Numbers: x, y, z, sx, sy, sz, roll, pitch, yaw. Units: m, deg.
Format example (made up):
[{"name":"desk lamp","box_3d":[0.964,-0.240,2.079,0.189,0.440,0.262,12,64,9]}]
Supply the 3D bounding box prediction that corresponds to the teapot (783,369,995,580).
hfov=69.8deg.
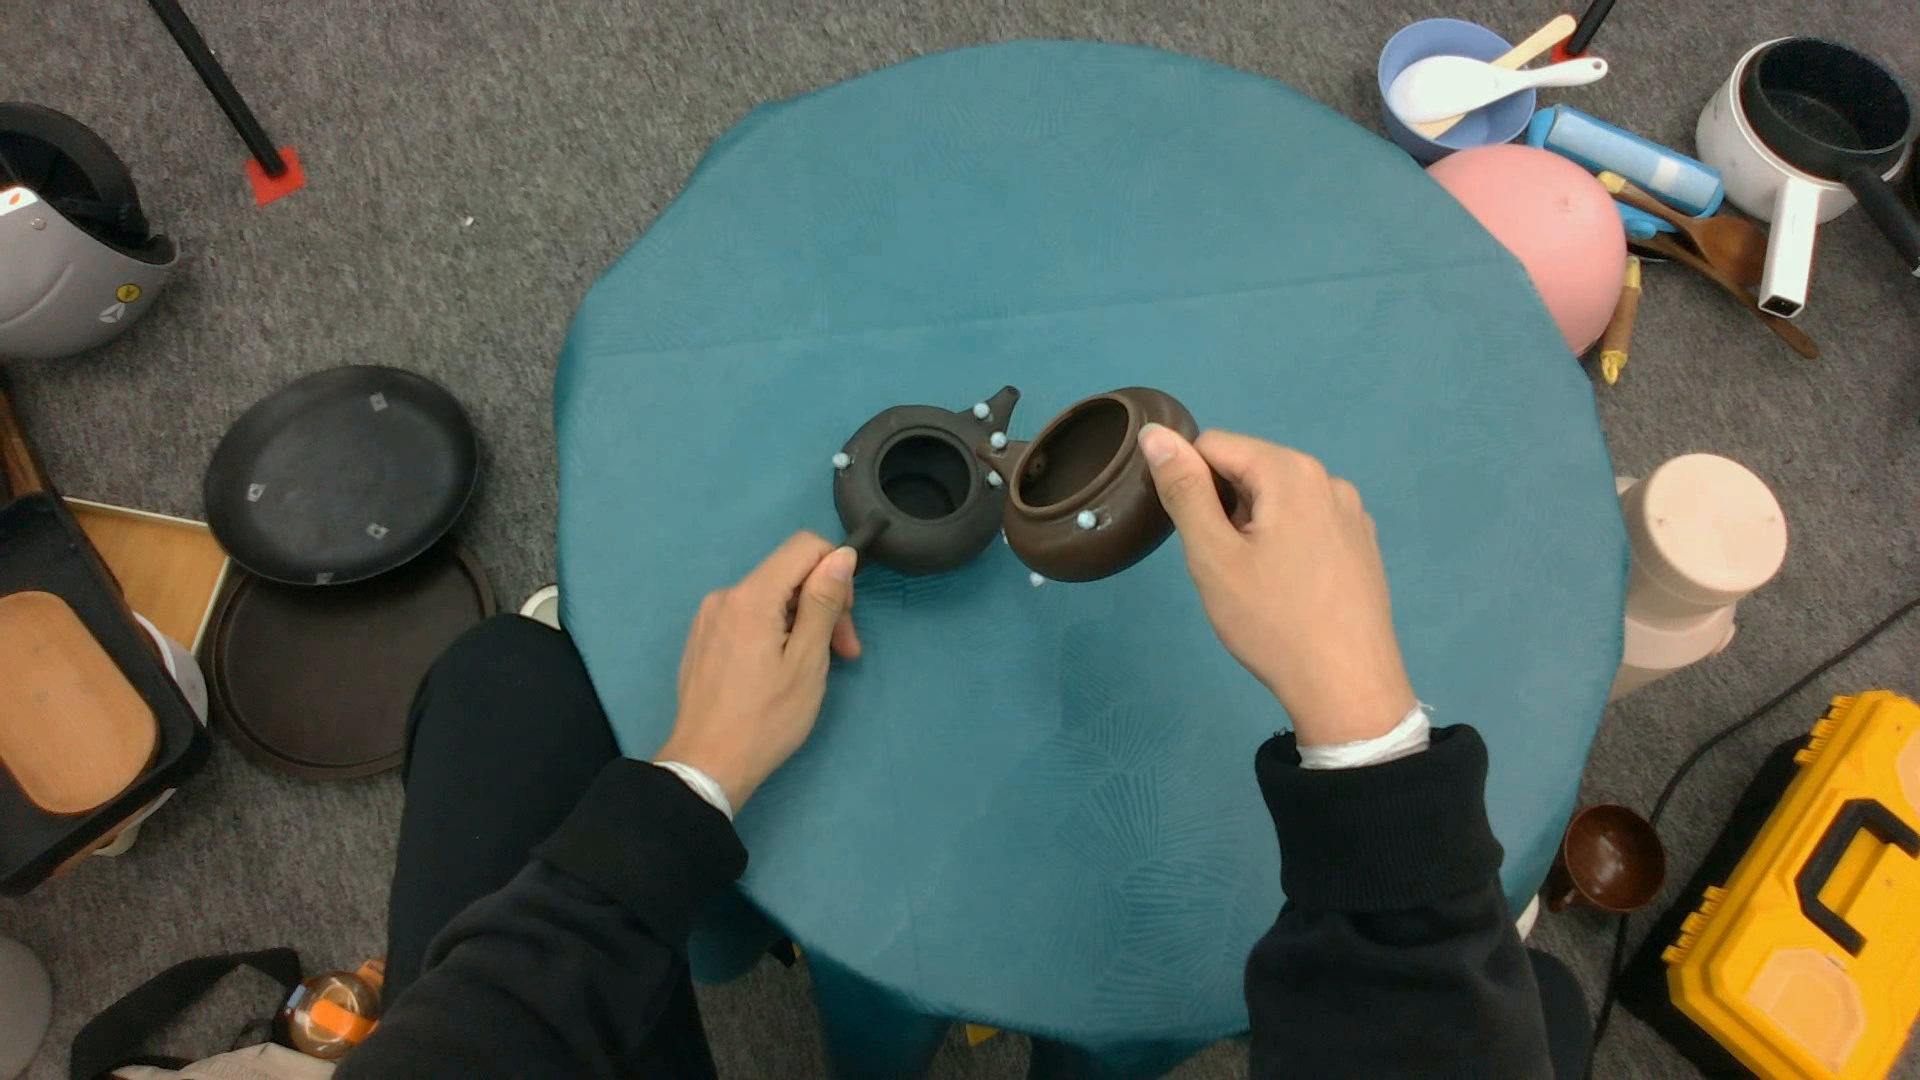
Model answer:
[{"name":"teapot","box_3d":[-0.036,-0.032,0.721,0.092,0.064,0.155,42,68,9]}]

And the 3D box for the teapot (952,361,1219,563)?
[{"name":"teapot","box_3d":[0.056,-0.037,0.622,0.054,0.153,0.103,39,68,-30]}]
